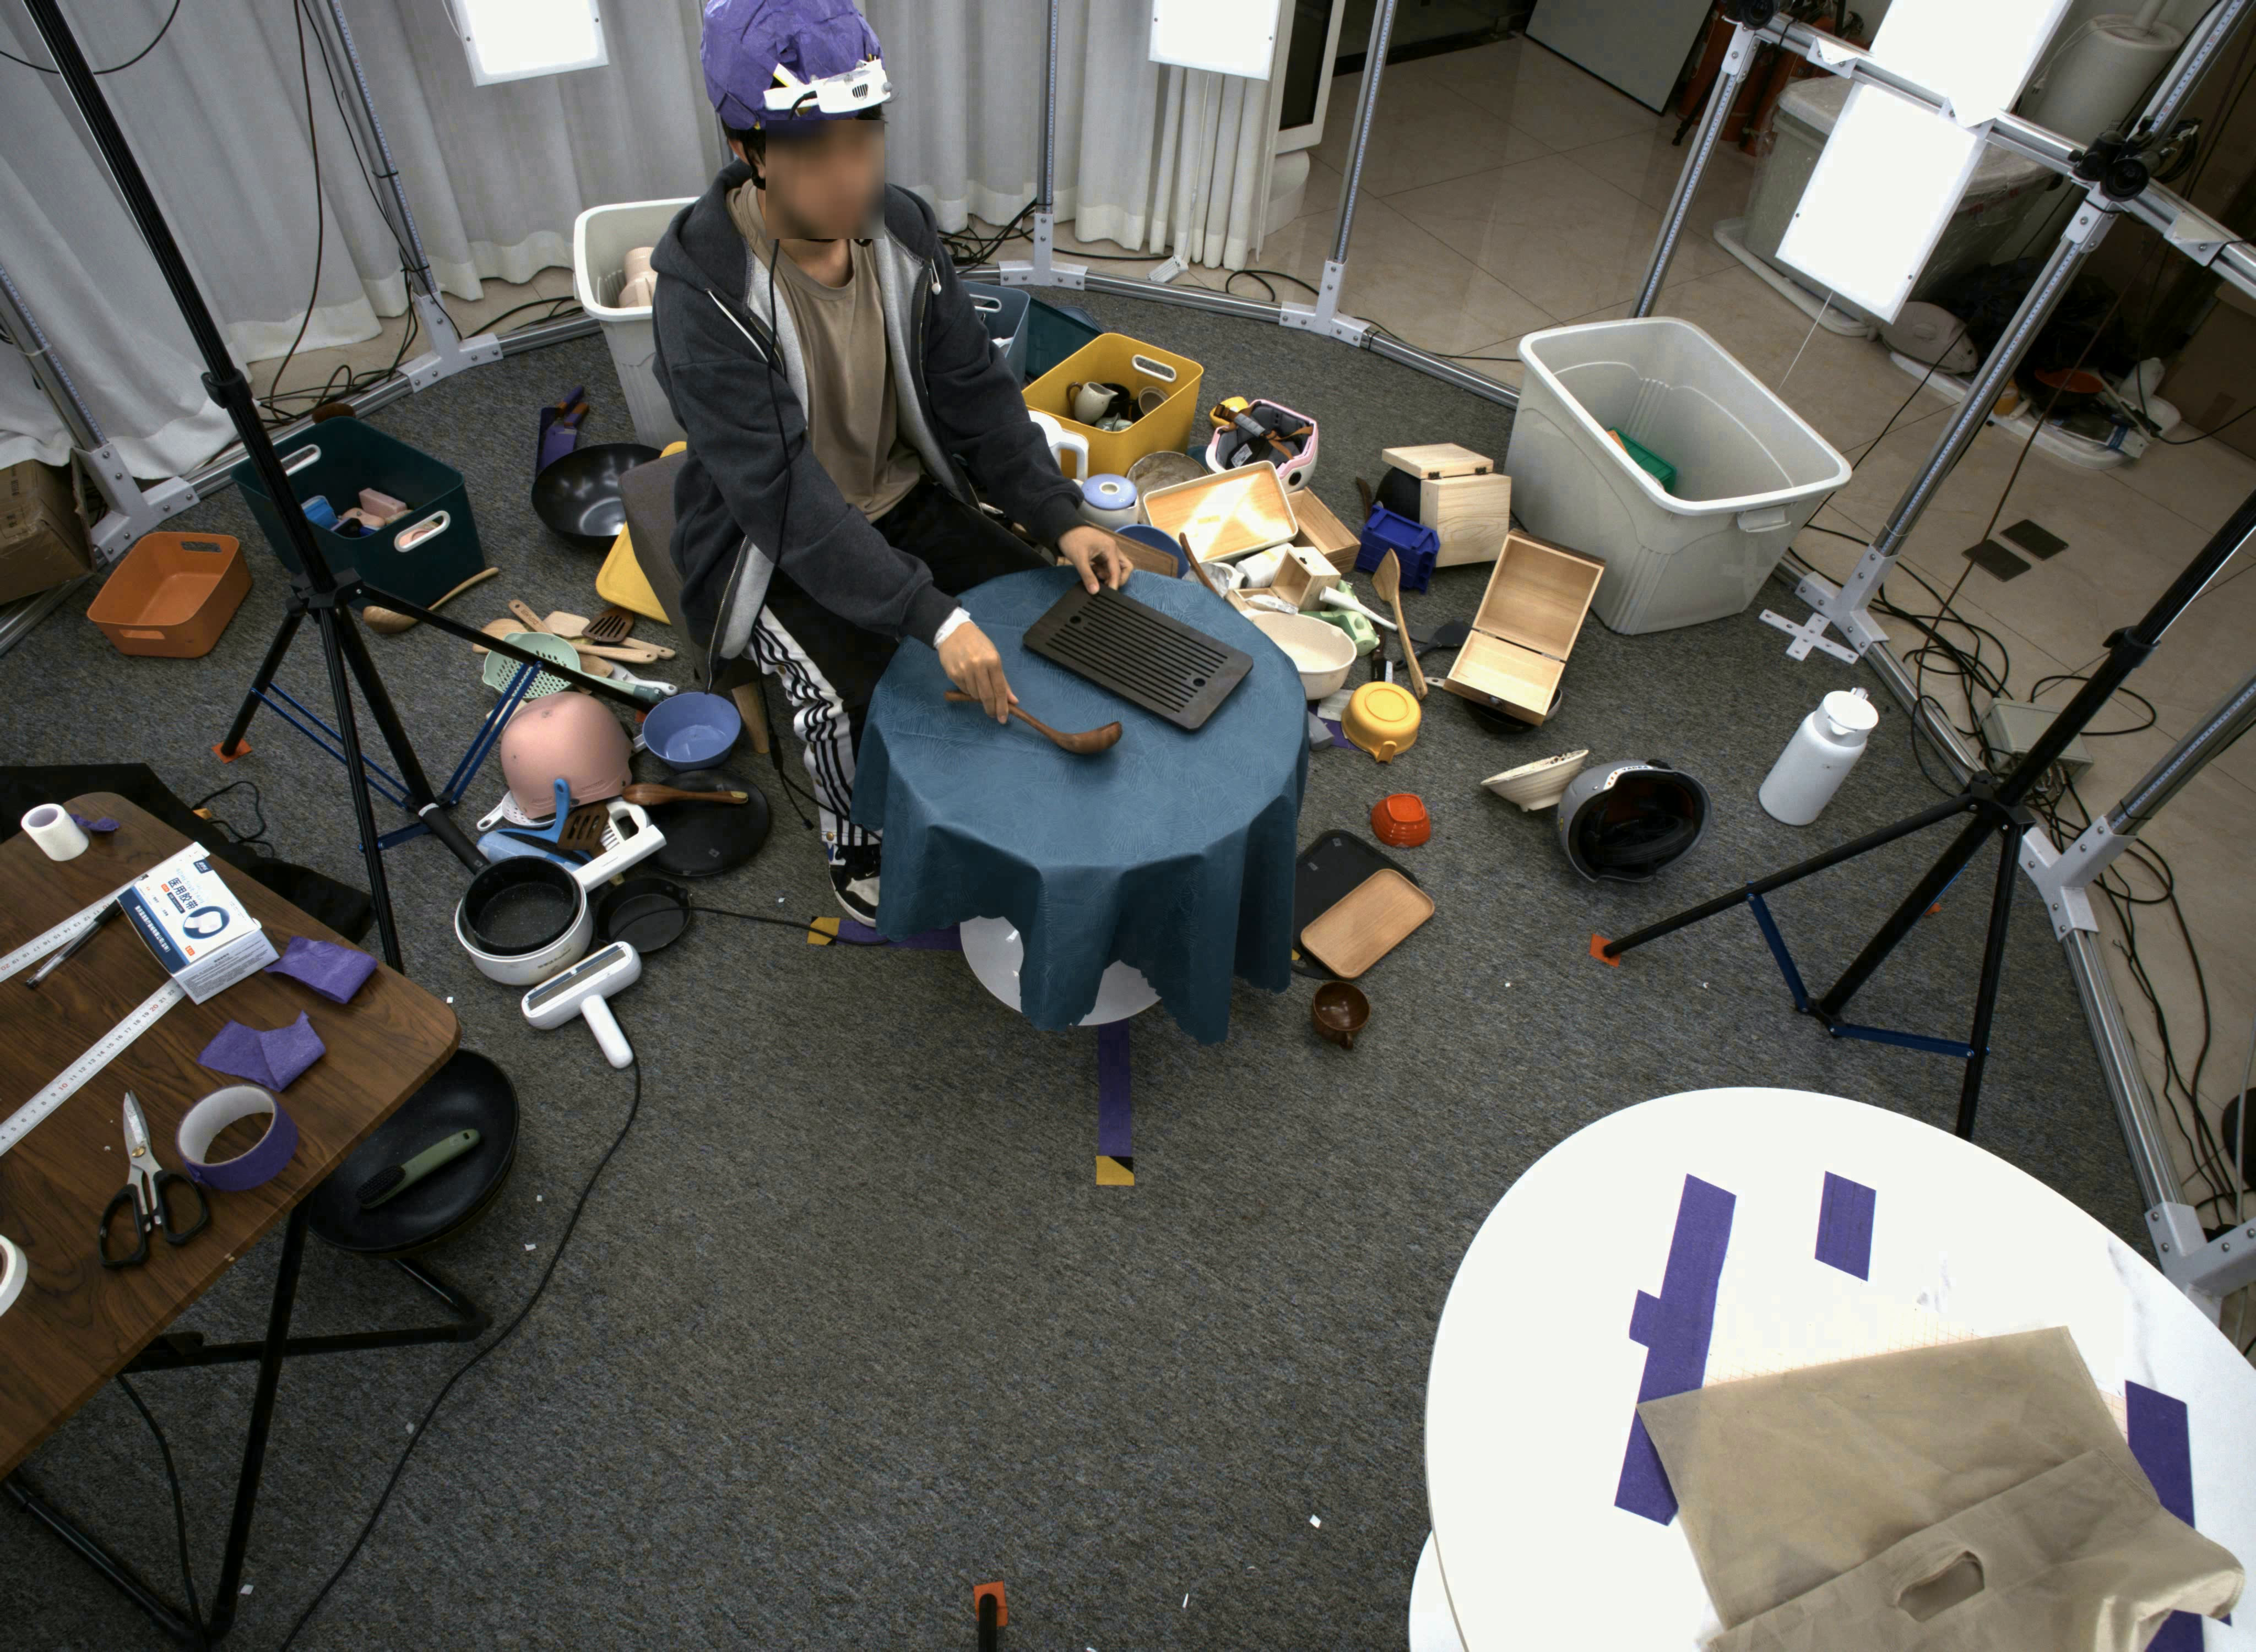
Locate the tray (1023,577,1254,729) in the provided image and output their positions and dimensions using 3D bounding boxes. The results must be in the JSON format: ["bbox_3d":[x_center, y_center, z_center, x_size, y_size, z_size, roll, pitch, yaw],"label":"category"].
[{"bbox_3d":[0.014,-0.254,1.870,0.309,0.018,0.172,29,57,20],"label":"tray"}]

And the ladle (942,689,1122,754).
[{"bbox_3d":[-0.131,-0.158,1.751,0.262,0.064,0.077,23,19,13],"label":"ladle"}]
